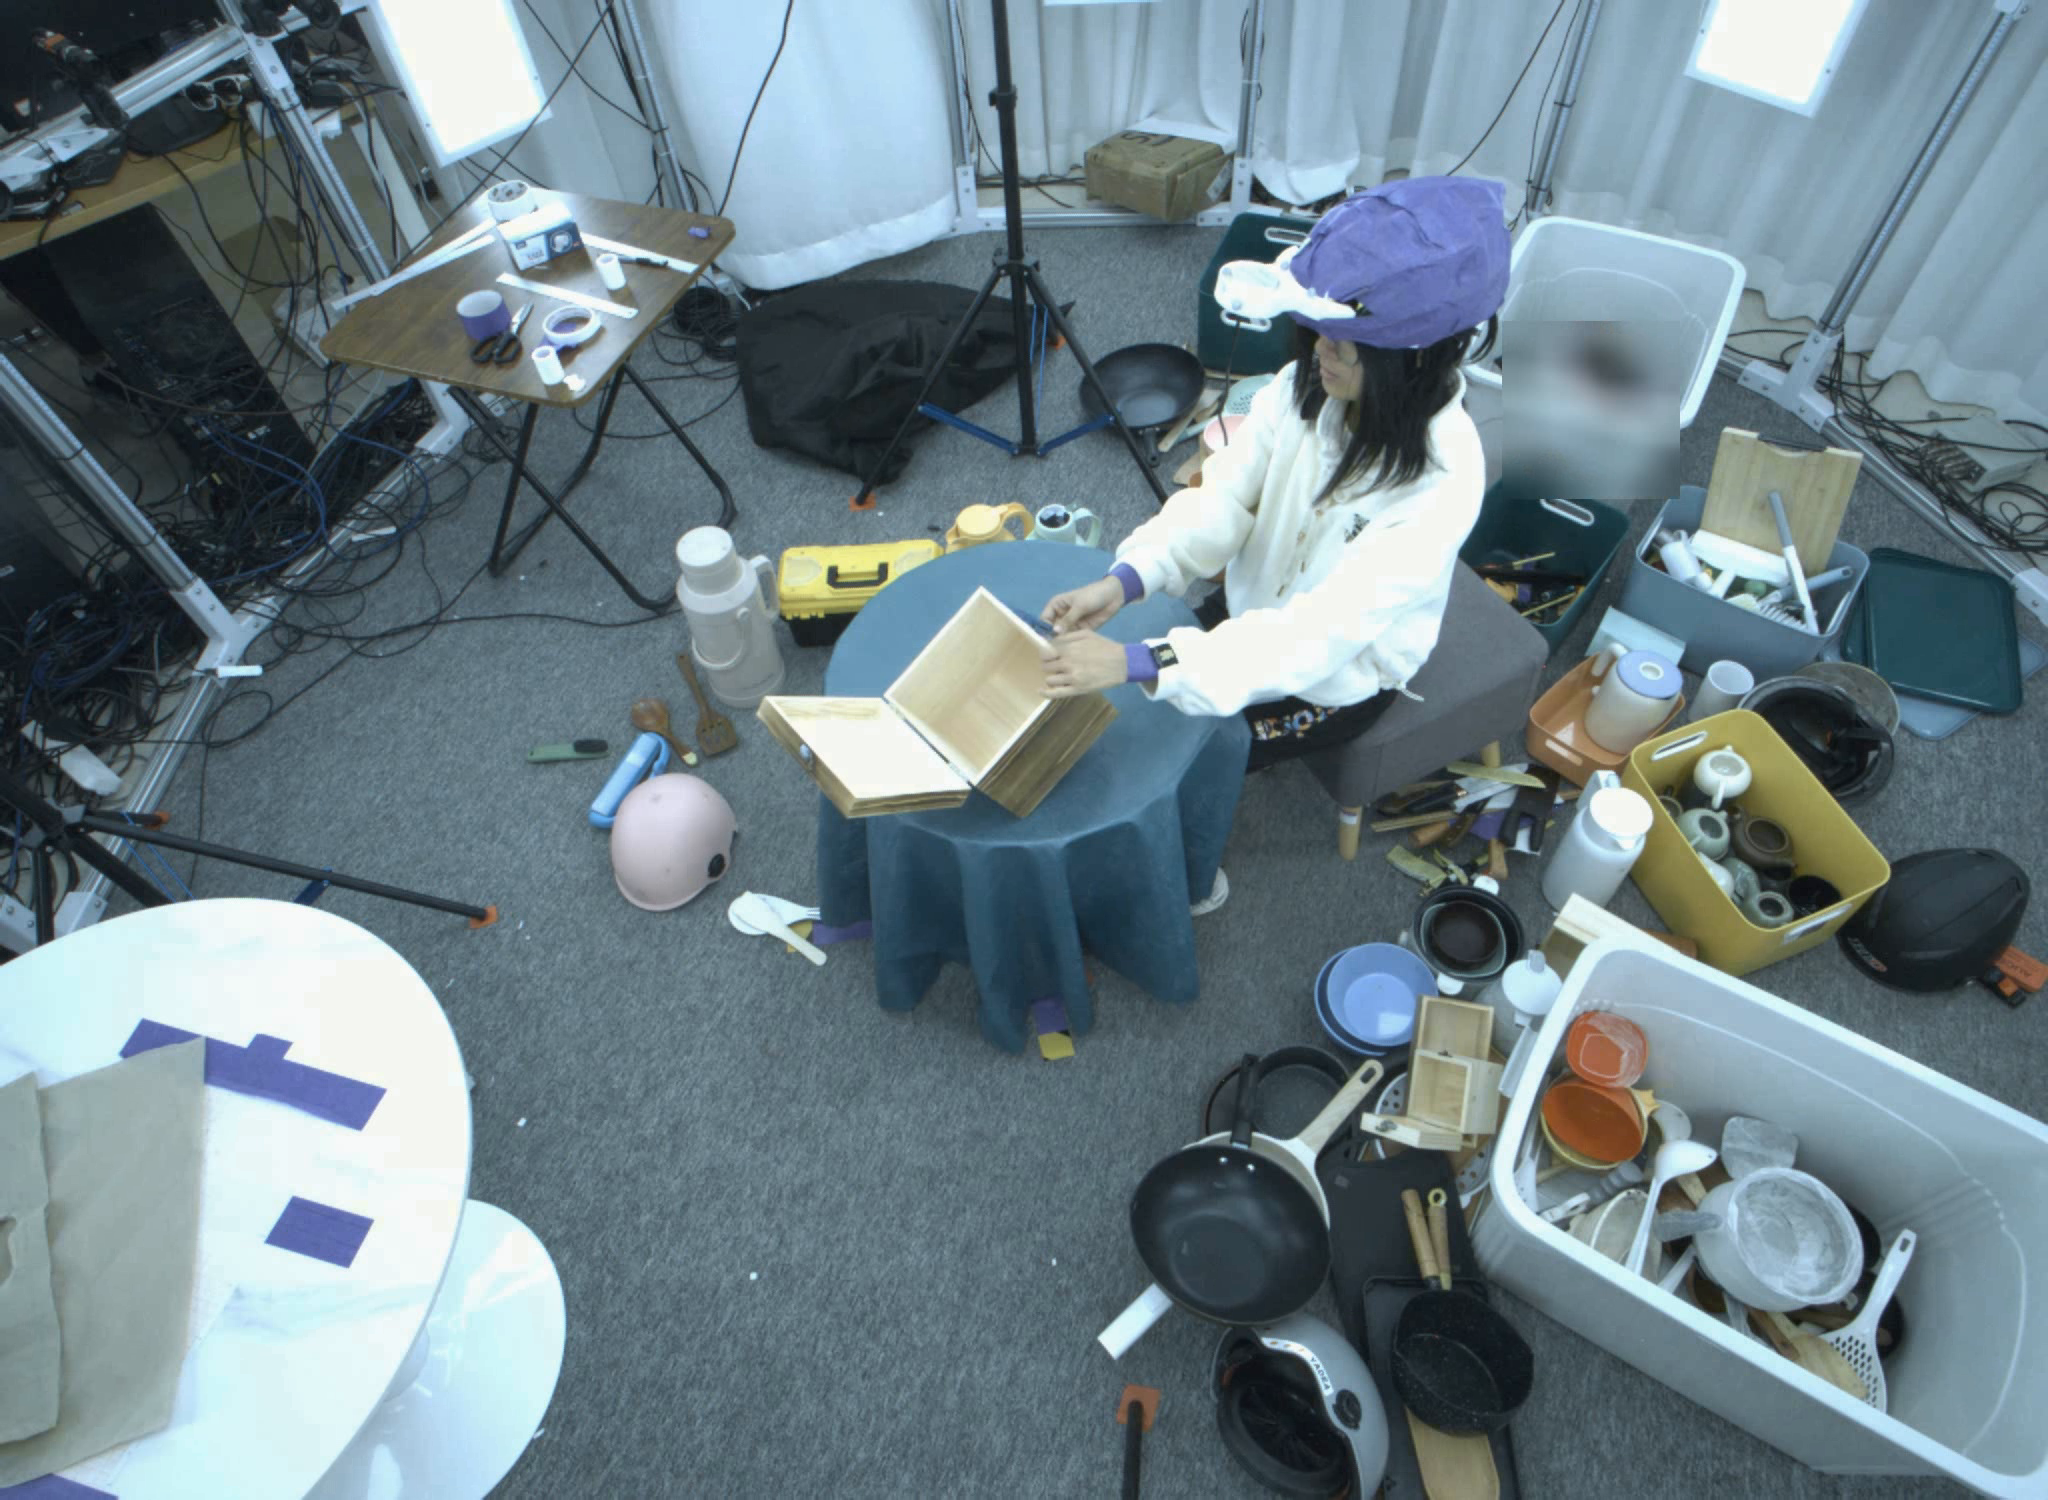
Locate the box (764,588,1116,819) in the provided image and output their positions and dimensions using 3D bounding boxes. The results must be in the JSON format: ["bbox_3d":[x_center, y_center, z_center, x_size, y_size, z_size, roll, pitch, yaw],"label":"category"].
[{"bbox_3d":[-0.099,-0.050,1.602,0.322,0.382,0.205,-48,63,2],"label":"box"}]

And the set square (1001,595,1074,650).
[{"bbox_3d":[0.024,-0.173,1.654,0.062,0.006,0.129,-7,42,-45],"label":"set square"}]
